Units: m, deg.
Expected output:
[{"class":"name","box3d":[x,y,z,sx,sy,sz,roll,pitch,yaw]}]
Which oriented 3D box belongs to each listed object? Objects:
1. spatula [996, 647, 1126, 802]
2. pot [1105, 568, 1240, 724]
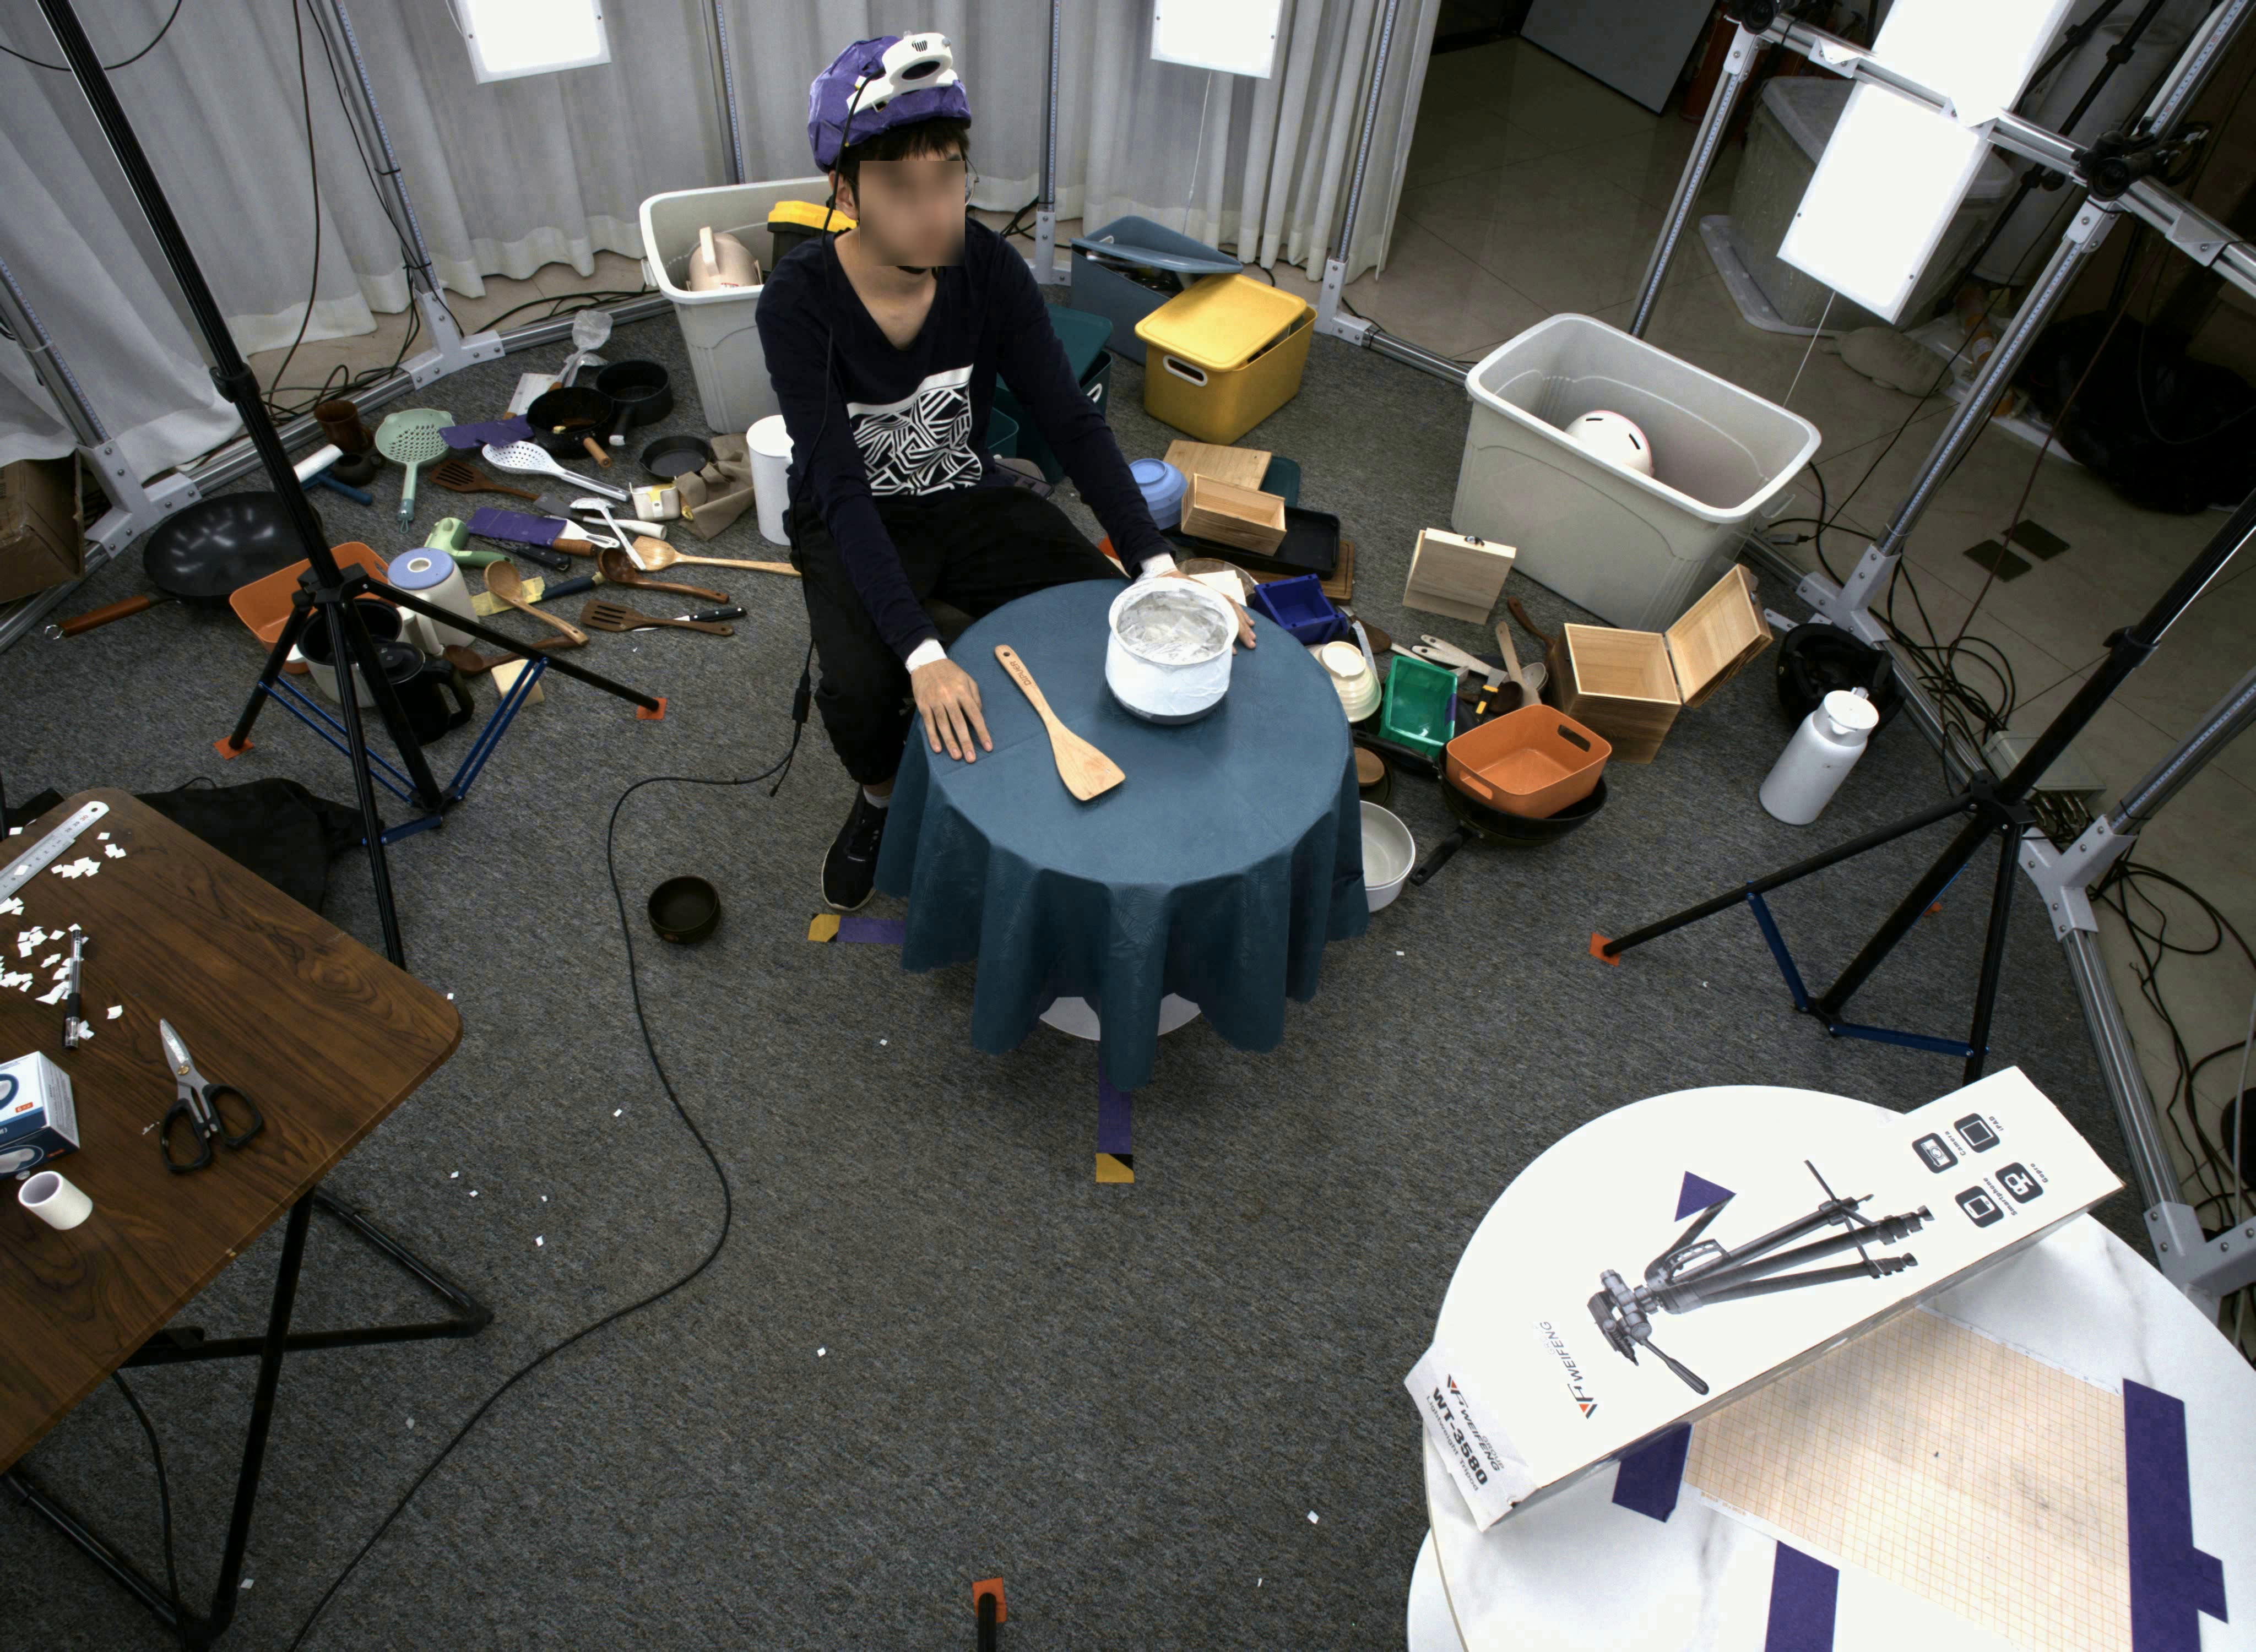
[{"class":"spatula","box3d":[-0.106,-0.150,1.780,0.080,0.016,0.335,-20,53,-21]},{"class":"pot","box3d":[0.049,-0.262,1.806,0.178,0.133,0.239,-12,53,-15]}]
